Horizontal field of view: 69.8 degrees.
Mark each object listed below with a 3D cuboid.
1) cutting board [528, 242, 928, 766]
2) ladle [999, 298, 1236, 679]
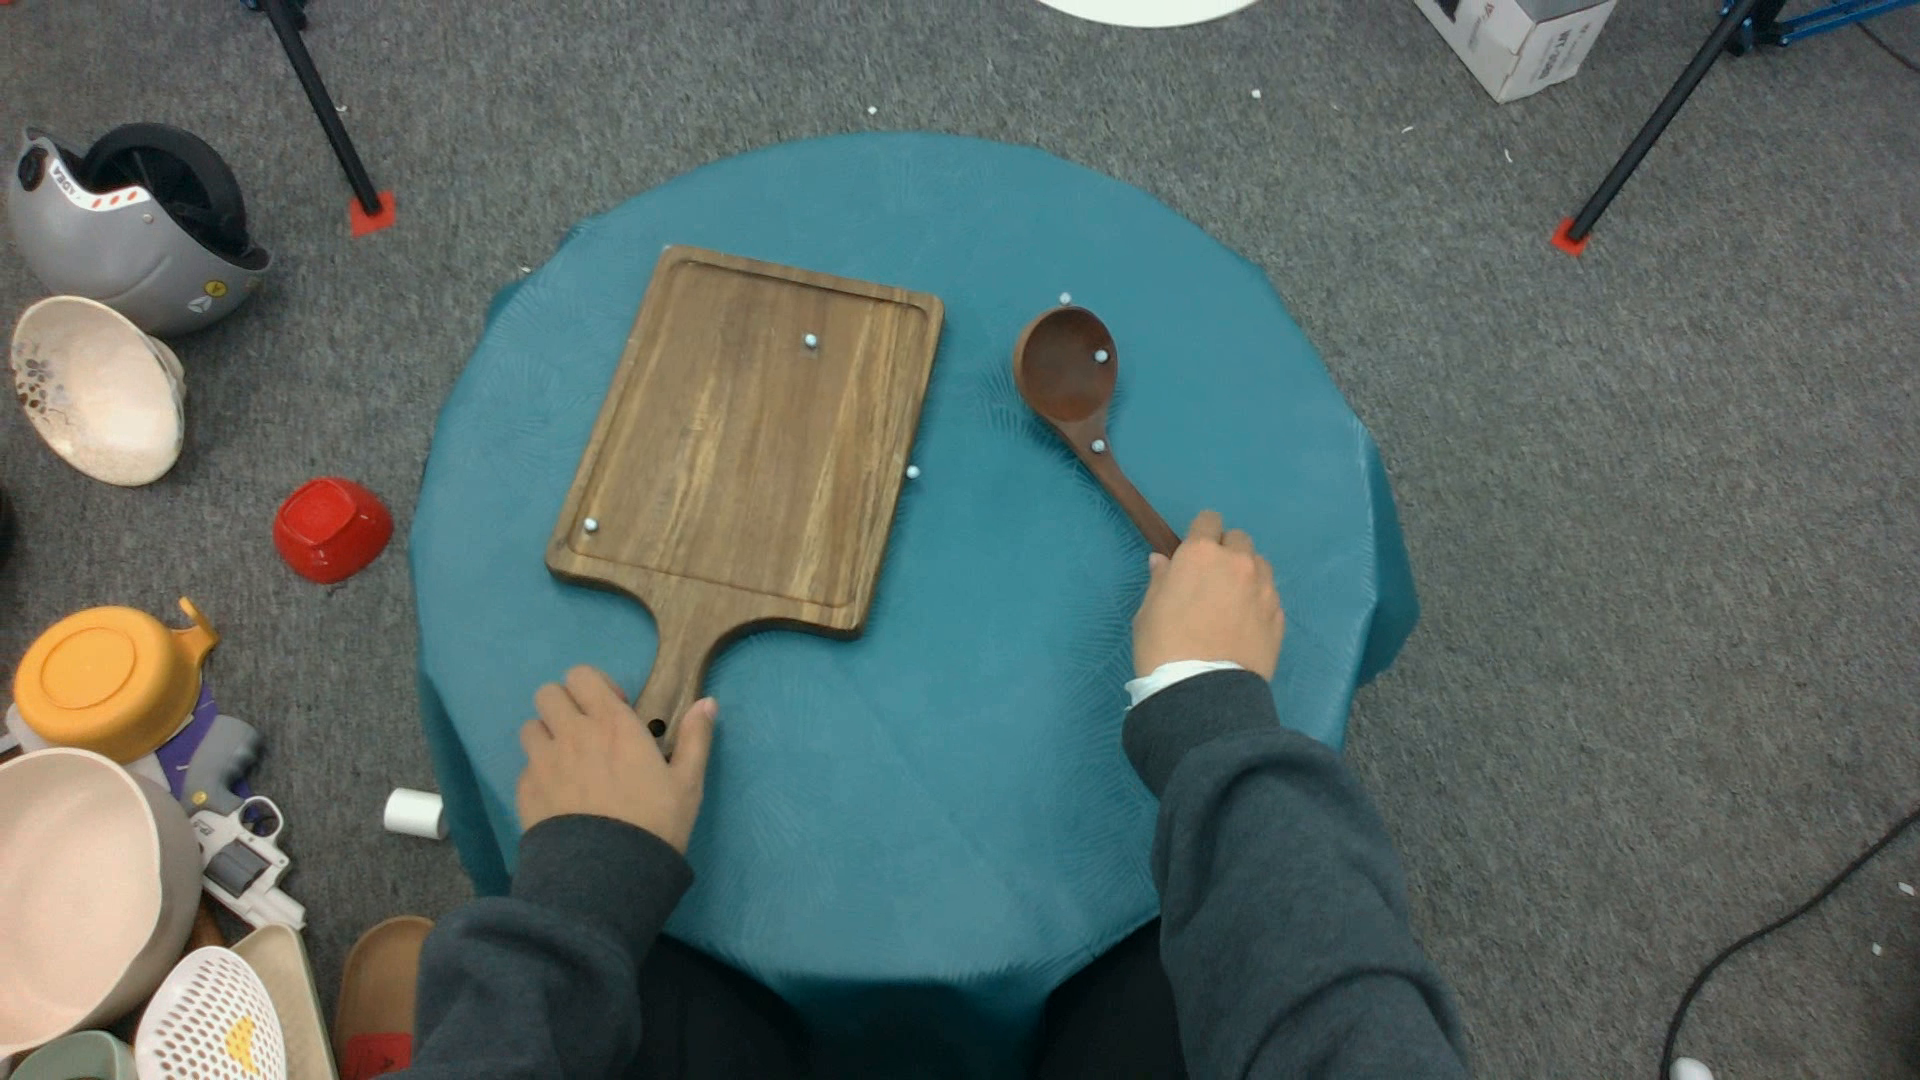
[{"bbox_3d":[-0.148,-0.031,0.846,0.201,0.023,0.353,11,62,3],"label":"cutting board"},{"bbox_3d":[0.103,-0.036,0.841,0.077,0.065,0.260,-19,65,-21],"label":"ladle"}]
